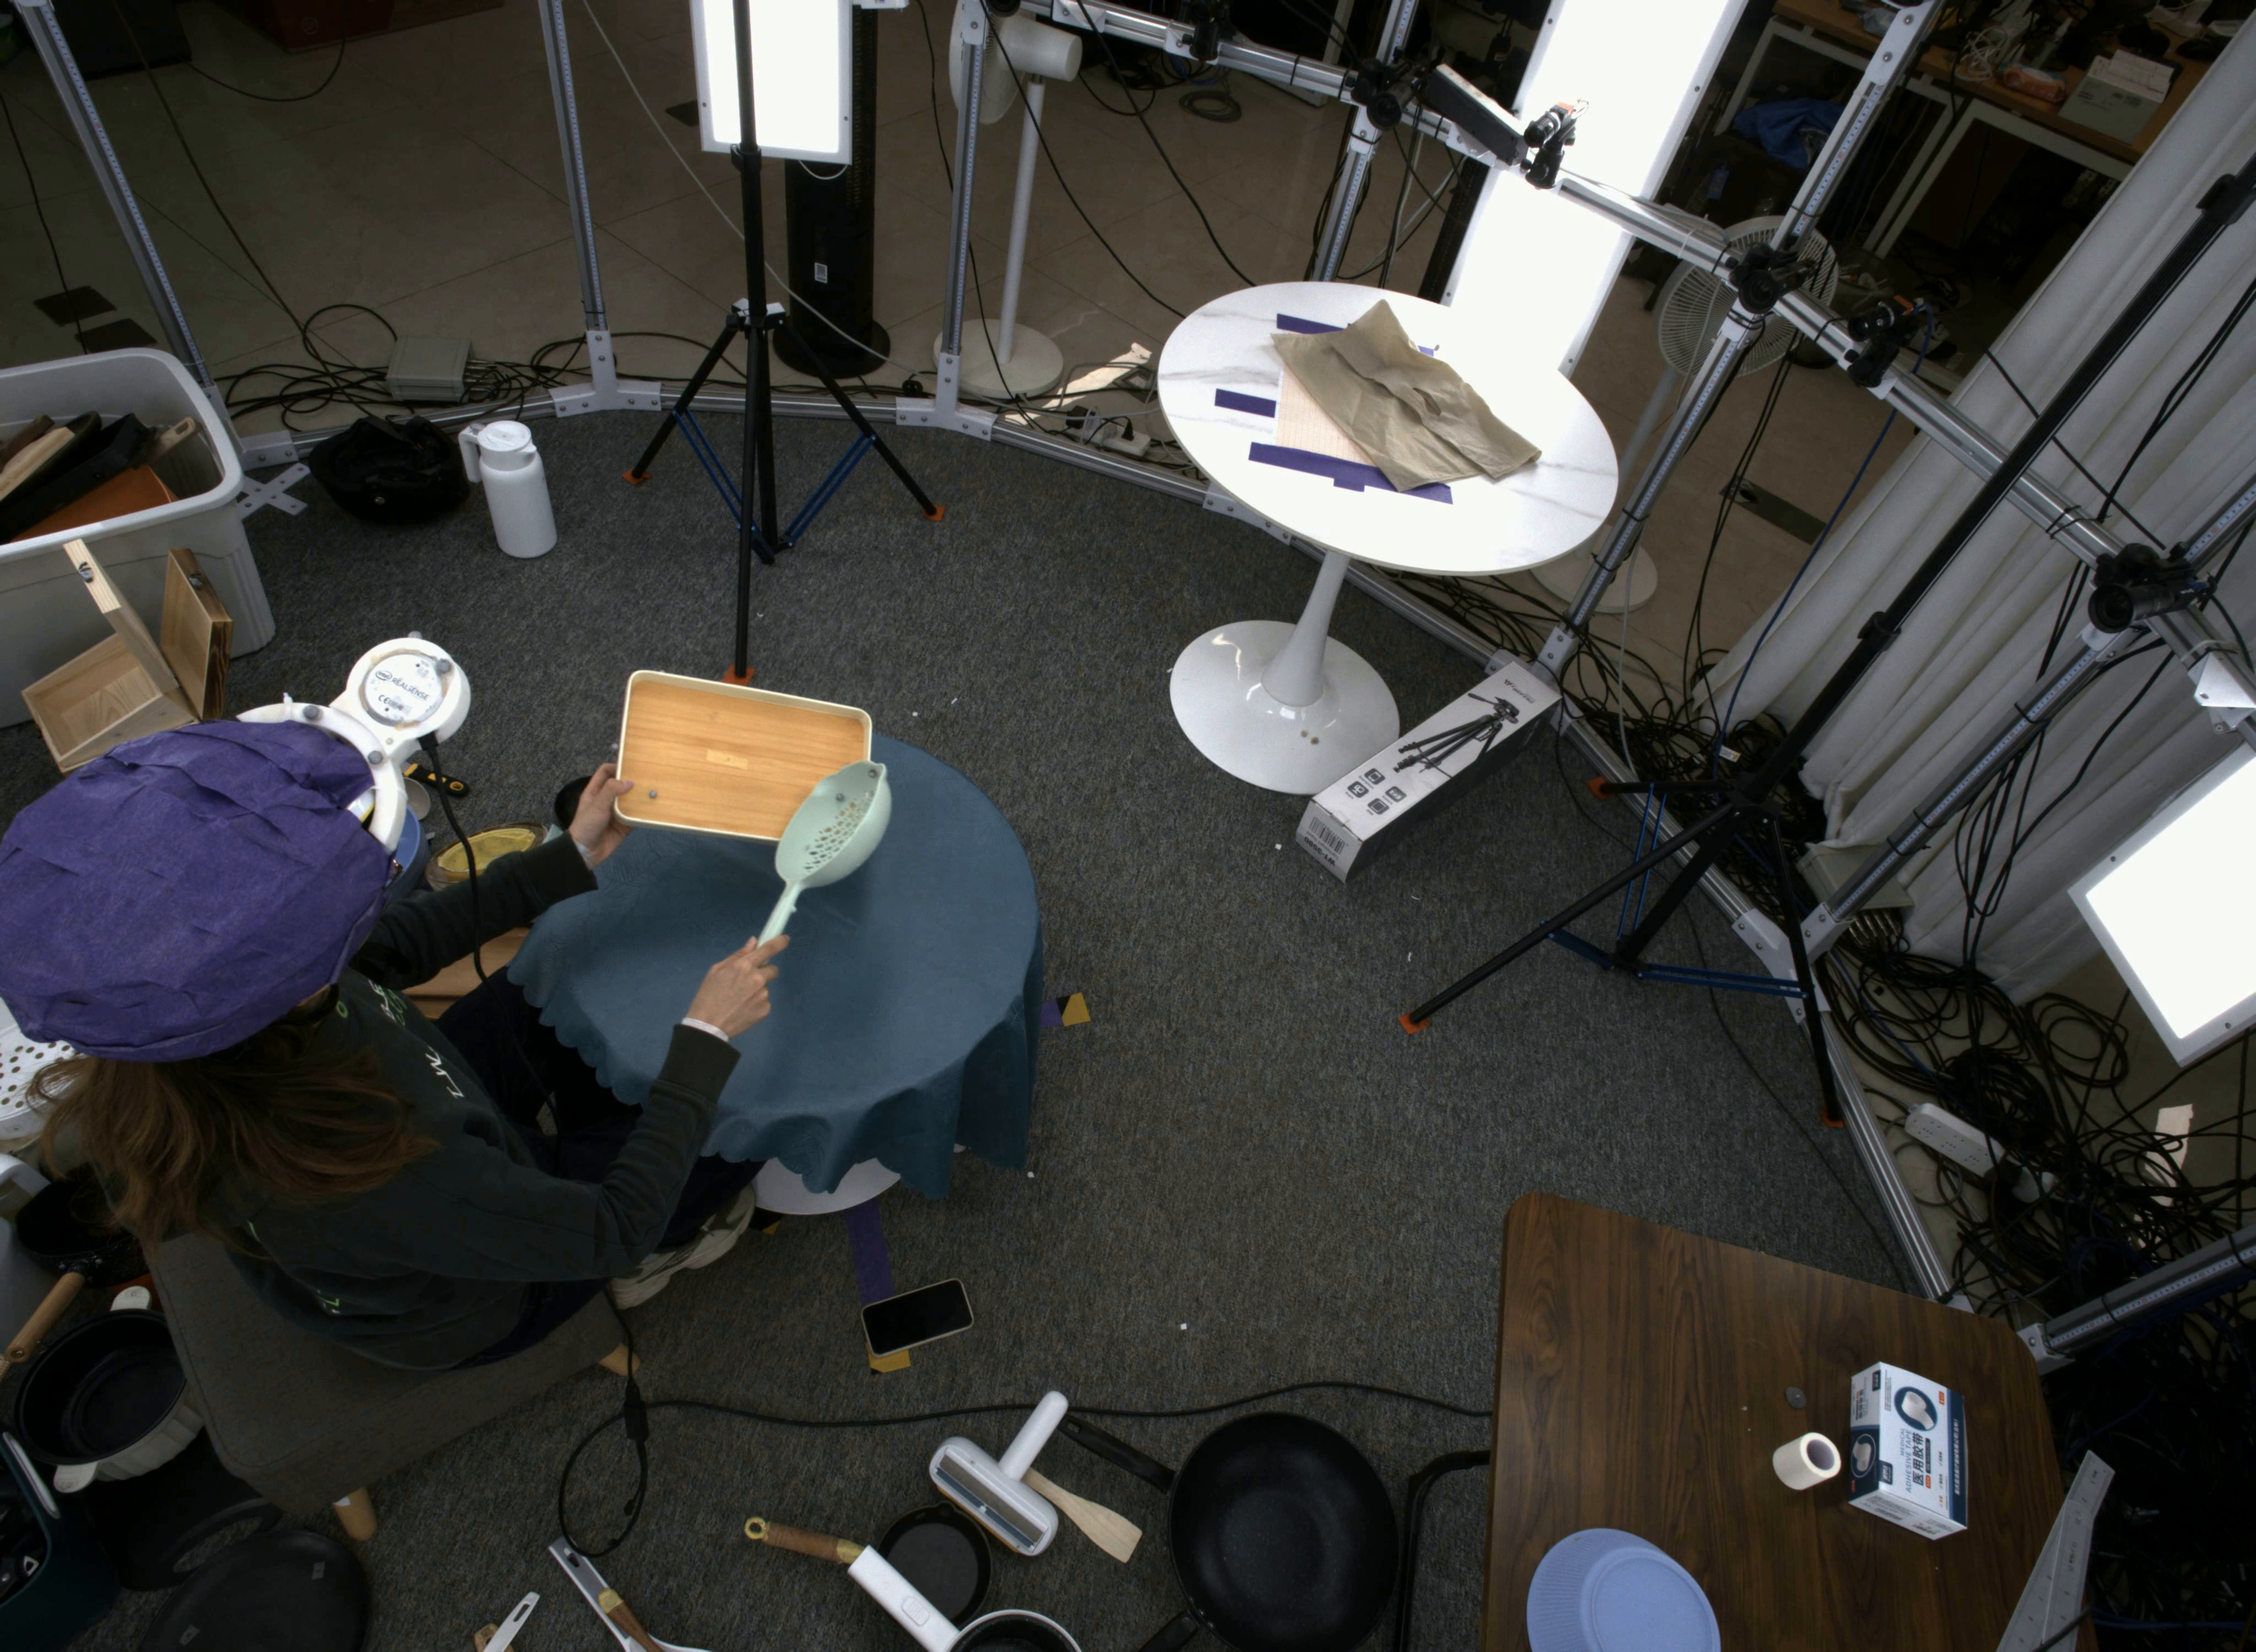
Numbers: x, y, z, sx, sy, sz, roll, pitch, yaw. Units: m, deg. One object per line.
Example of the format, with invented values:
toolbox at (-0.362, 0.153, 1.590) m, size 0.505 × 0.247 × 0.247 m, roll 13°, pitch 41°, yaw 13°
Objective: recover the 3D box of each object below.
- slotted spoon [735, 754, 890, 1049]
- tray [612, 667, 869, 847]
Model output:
slotted spoon at (-0.369, 0.076, 1.462) m, size 0.078 × 0.164 × 0.357 m, roll 46°, pitch 54°, yaw -30°
tray at (-0.464, -0.077, 1.563) m, size 0.305 × 0.027 × 0.190 m, roll 9°, pitch 70°, yaw -29°
